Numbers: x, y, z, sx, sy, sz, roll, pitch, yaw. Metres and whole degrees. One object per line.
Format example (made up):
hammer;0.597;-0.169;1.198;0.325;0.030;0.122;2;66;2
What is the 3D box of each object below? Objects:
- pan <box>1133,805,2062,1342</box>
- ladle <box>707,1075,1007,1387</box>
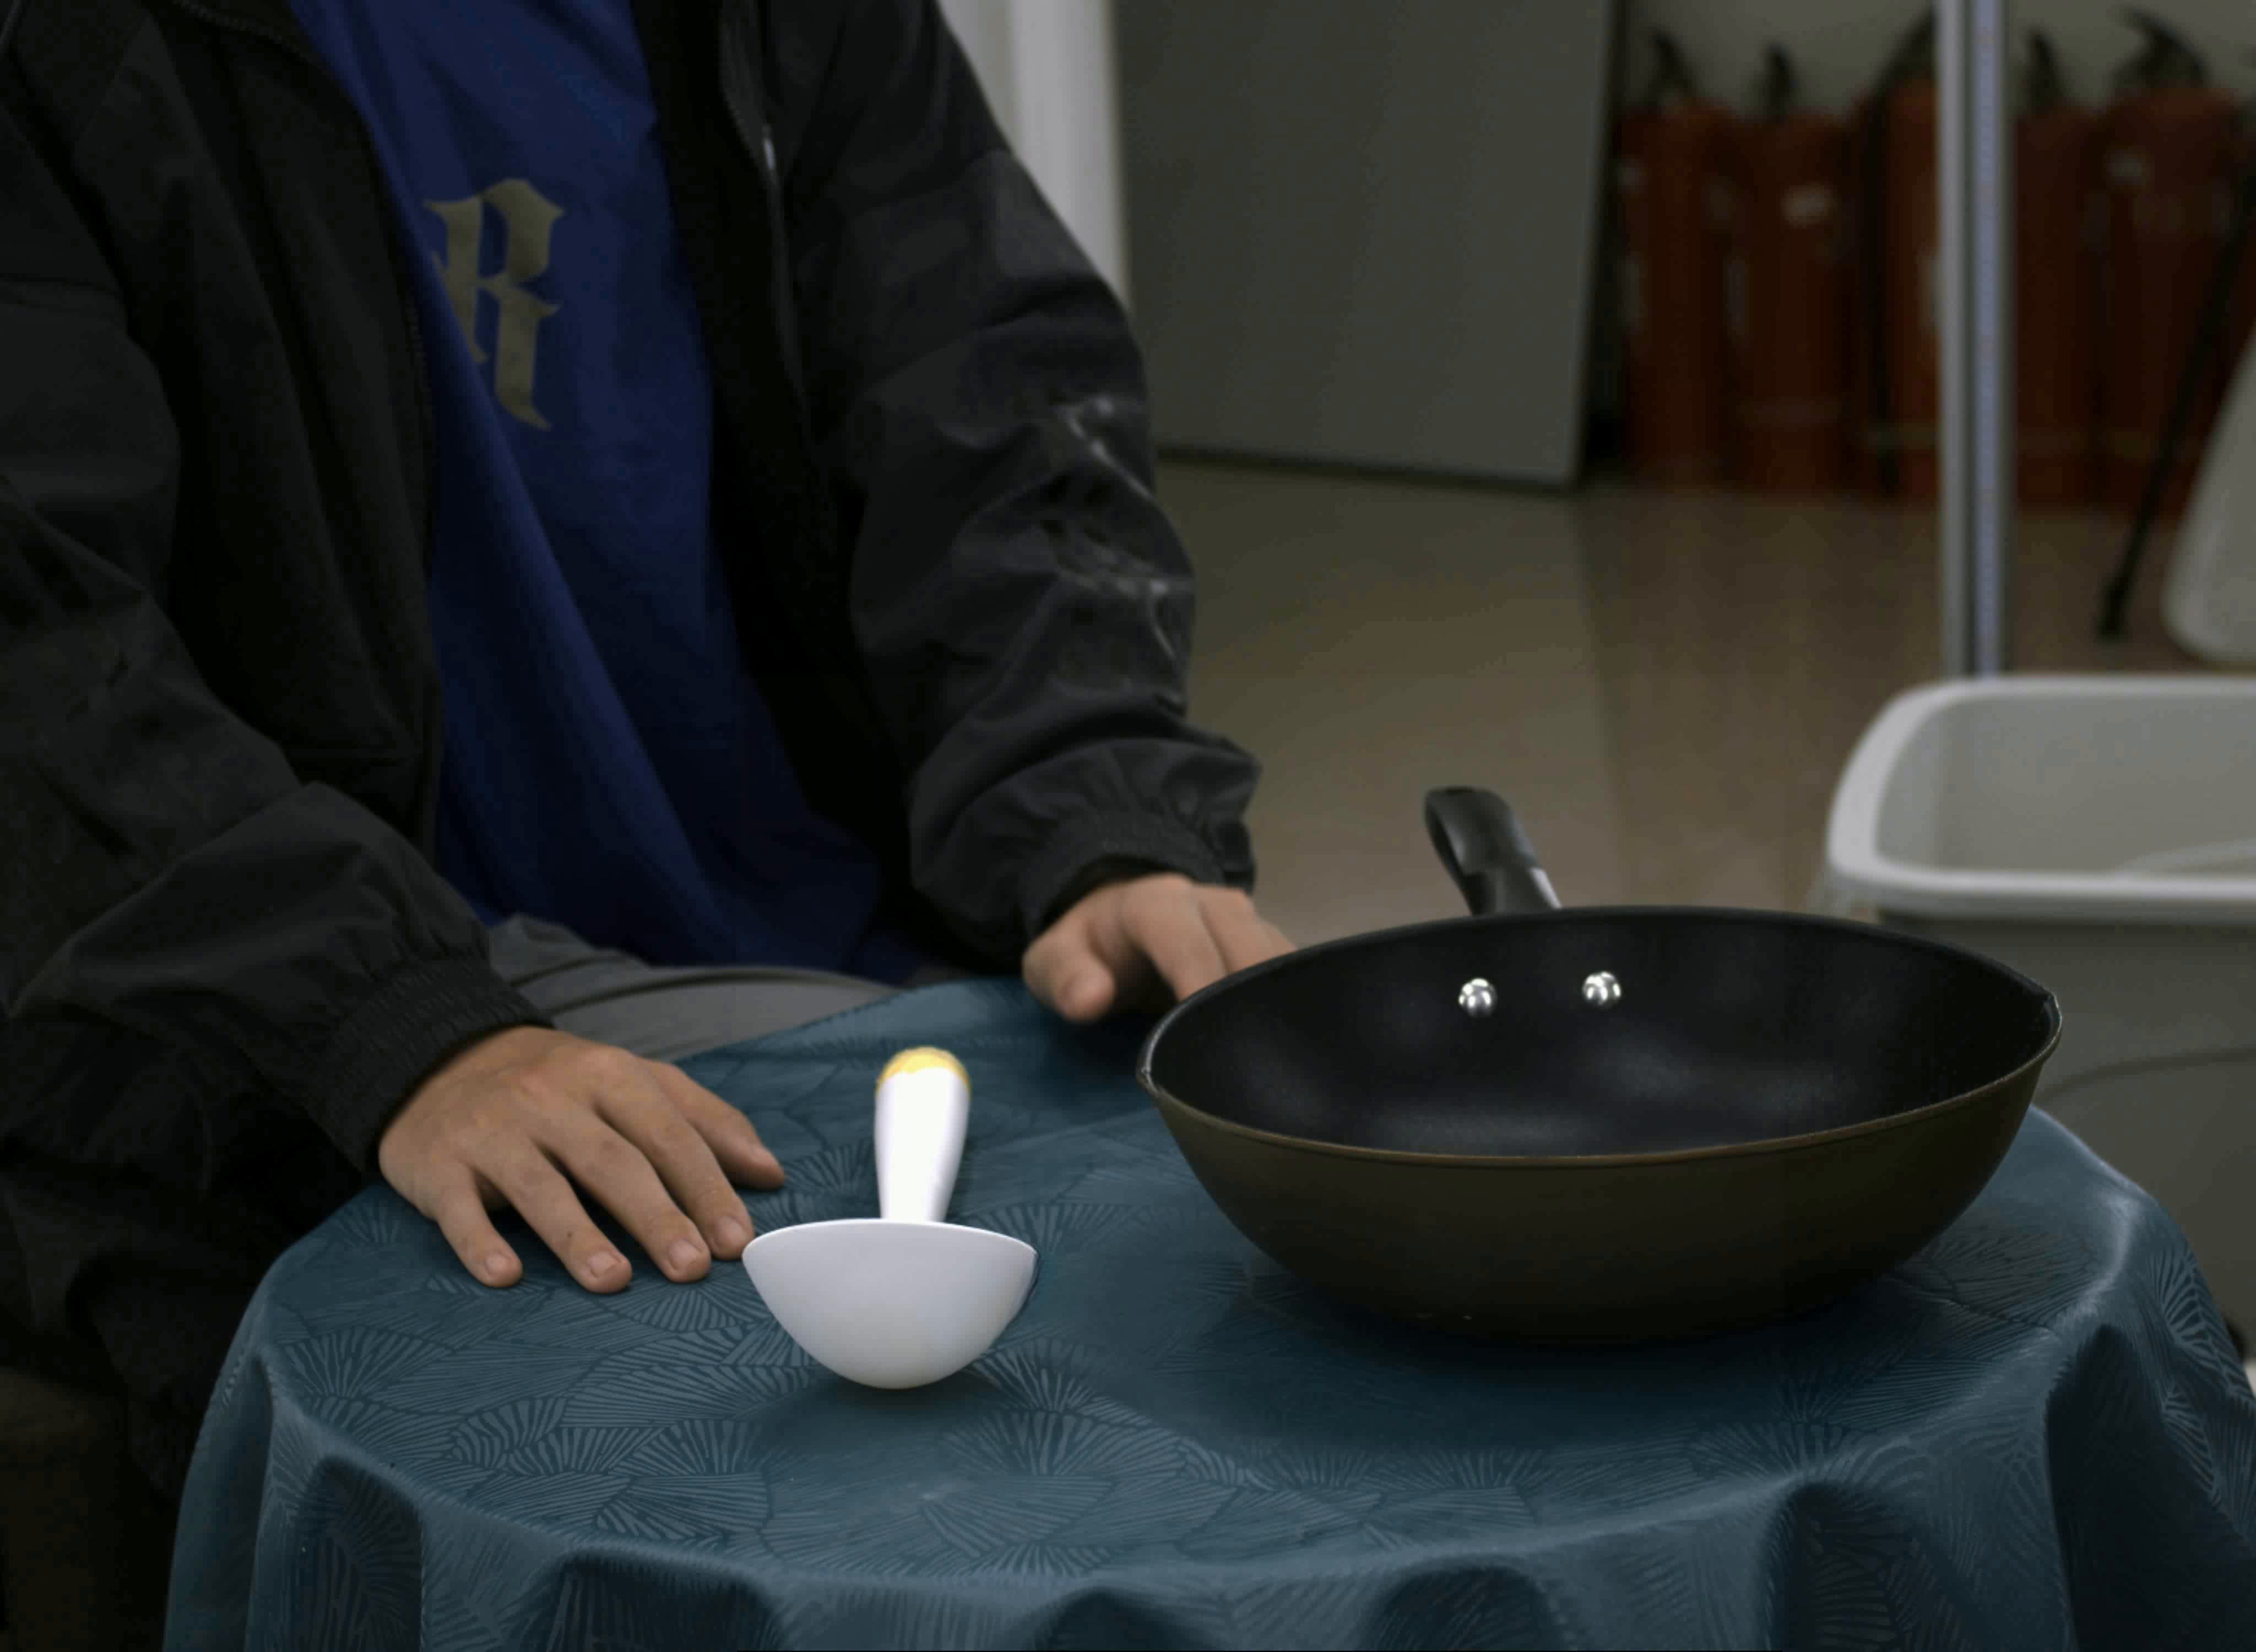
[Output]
pan;0.138;0.077;1.740;0.284;0.088;0.464;-4;12;-3
ladle;-0.073;0.112;1.699;0.089;0.071;0.293;-5;12;4
